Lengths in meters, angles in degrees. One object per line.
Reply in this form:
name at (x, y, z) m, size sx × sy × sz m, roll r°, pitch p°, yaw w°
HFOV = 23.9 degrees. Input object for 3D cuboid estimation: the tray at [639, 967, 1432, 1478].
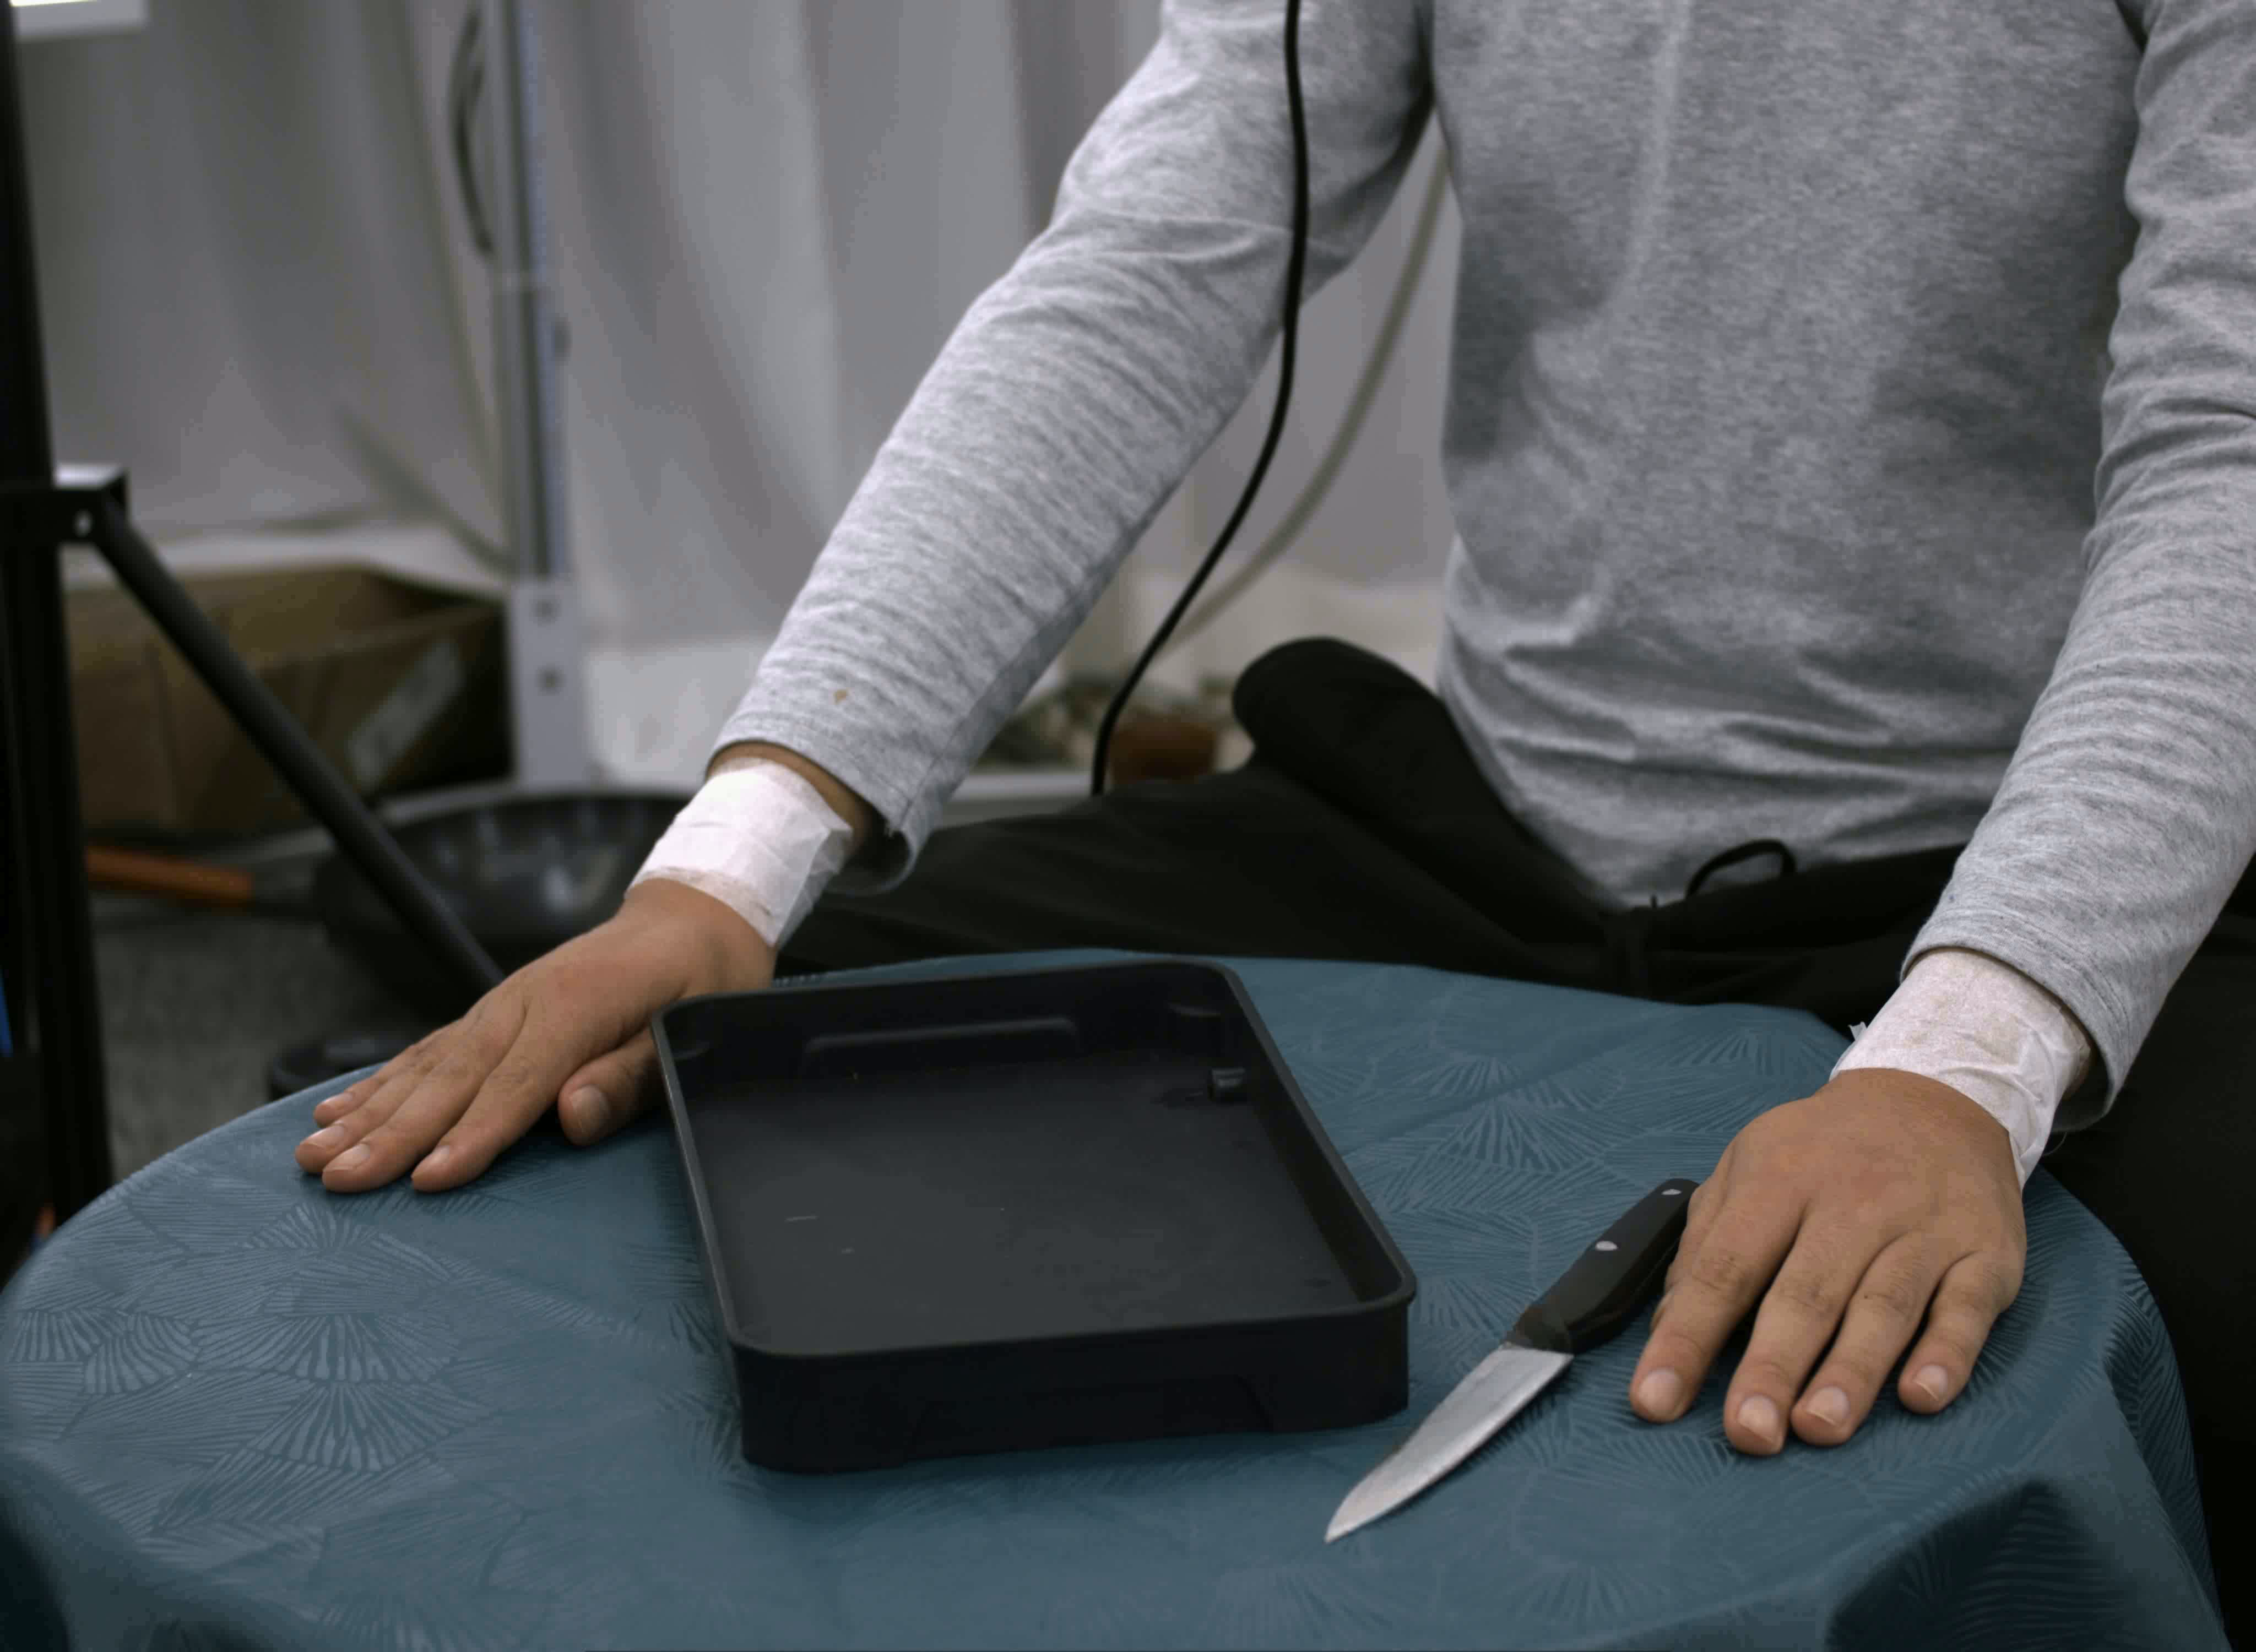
tray at (-0.034, 0.106, 1.510) m, size 0.182 × 0.037 × 0.321 m, roll -4°, pitch 15°, yaw -9°

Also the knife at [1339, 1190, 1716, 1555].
knife at (0.105, 0.143, 1.400) m, size 0.025 × 0.016 × 0.234 m, roll 7°, pitch 21°, yaw 27°
